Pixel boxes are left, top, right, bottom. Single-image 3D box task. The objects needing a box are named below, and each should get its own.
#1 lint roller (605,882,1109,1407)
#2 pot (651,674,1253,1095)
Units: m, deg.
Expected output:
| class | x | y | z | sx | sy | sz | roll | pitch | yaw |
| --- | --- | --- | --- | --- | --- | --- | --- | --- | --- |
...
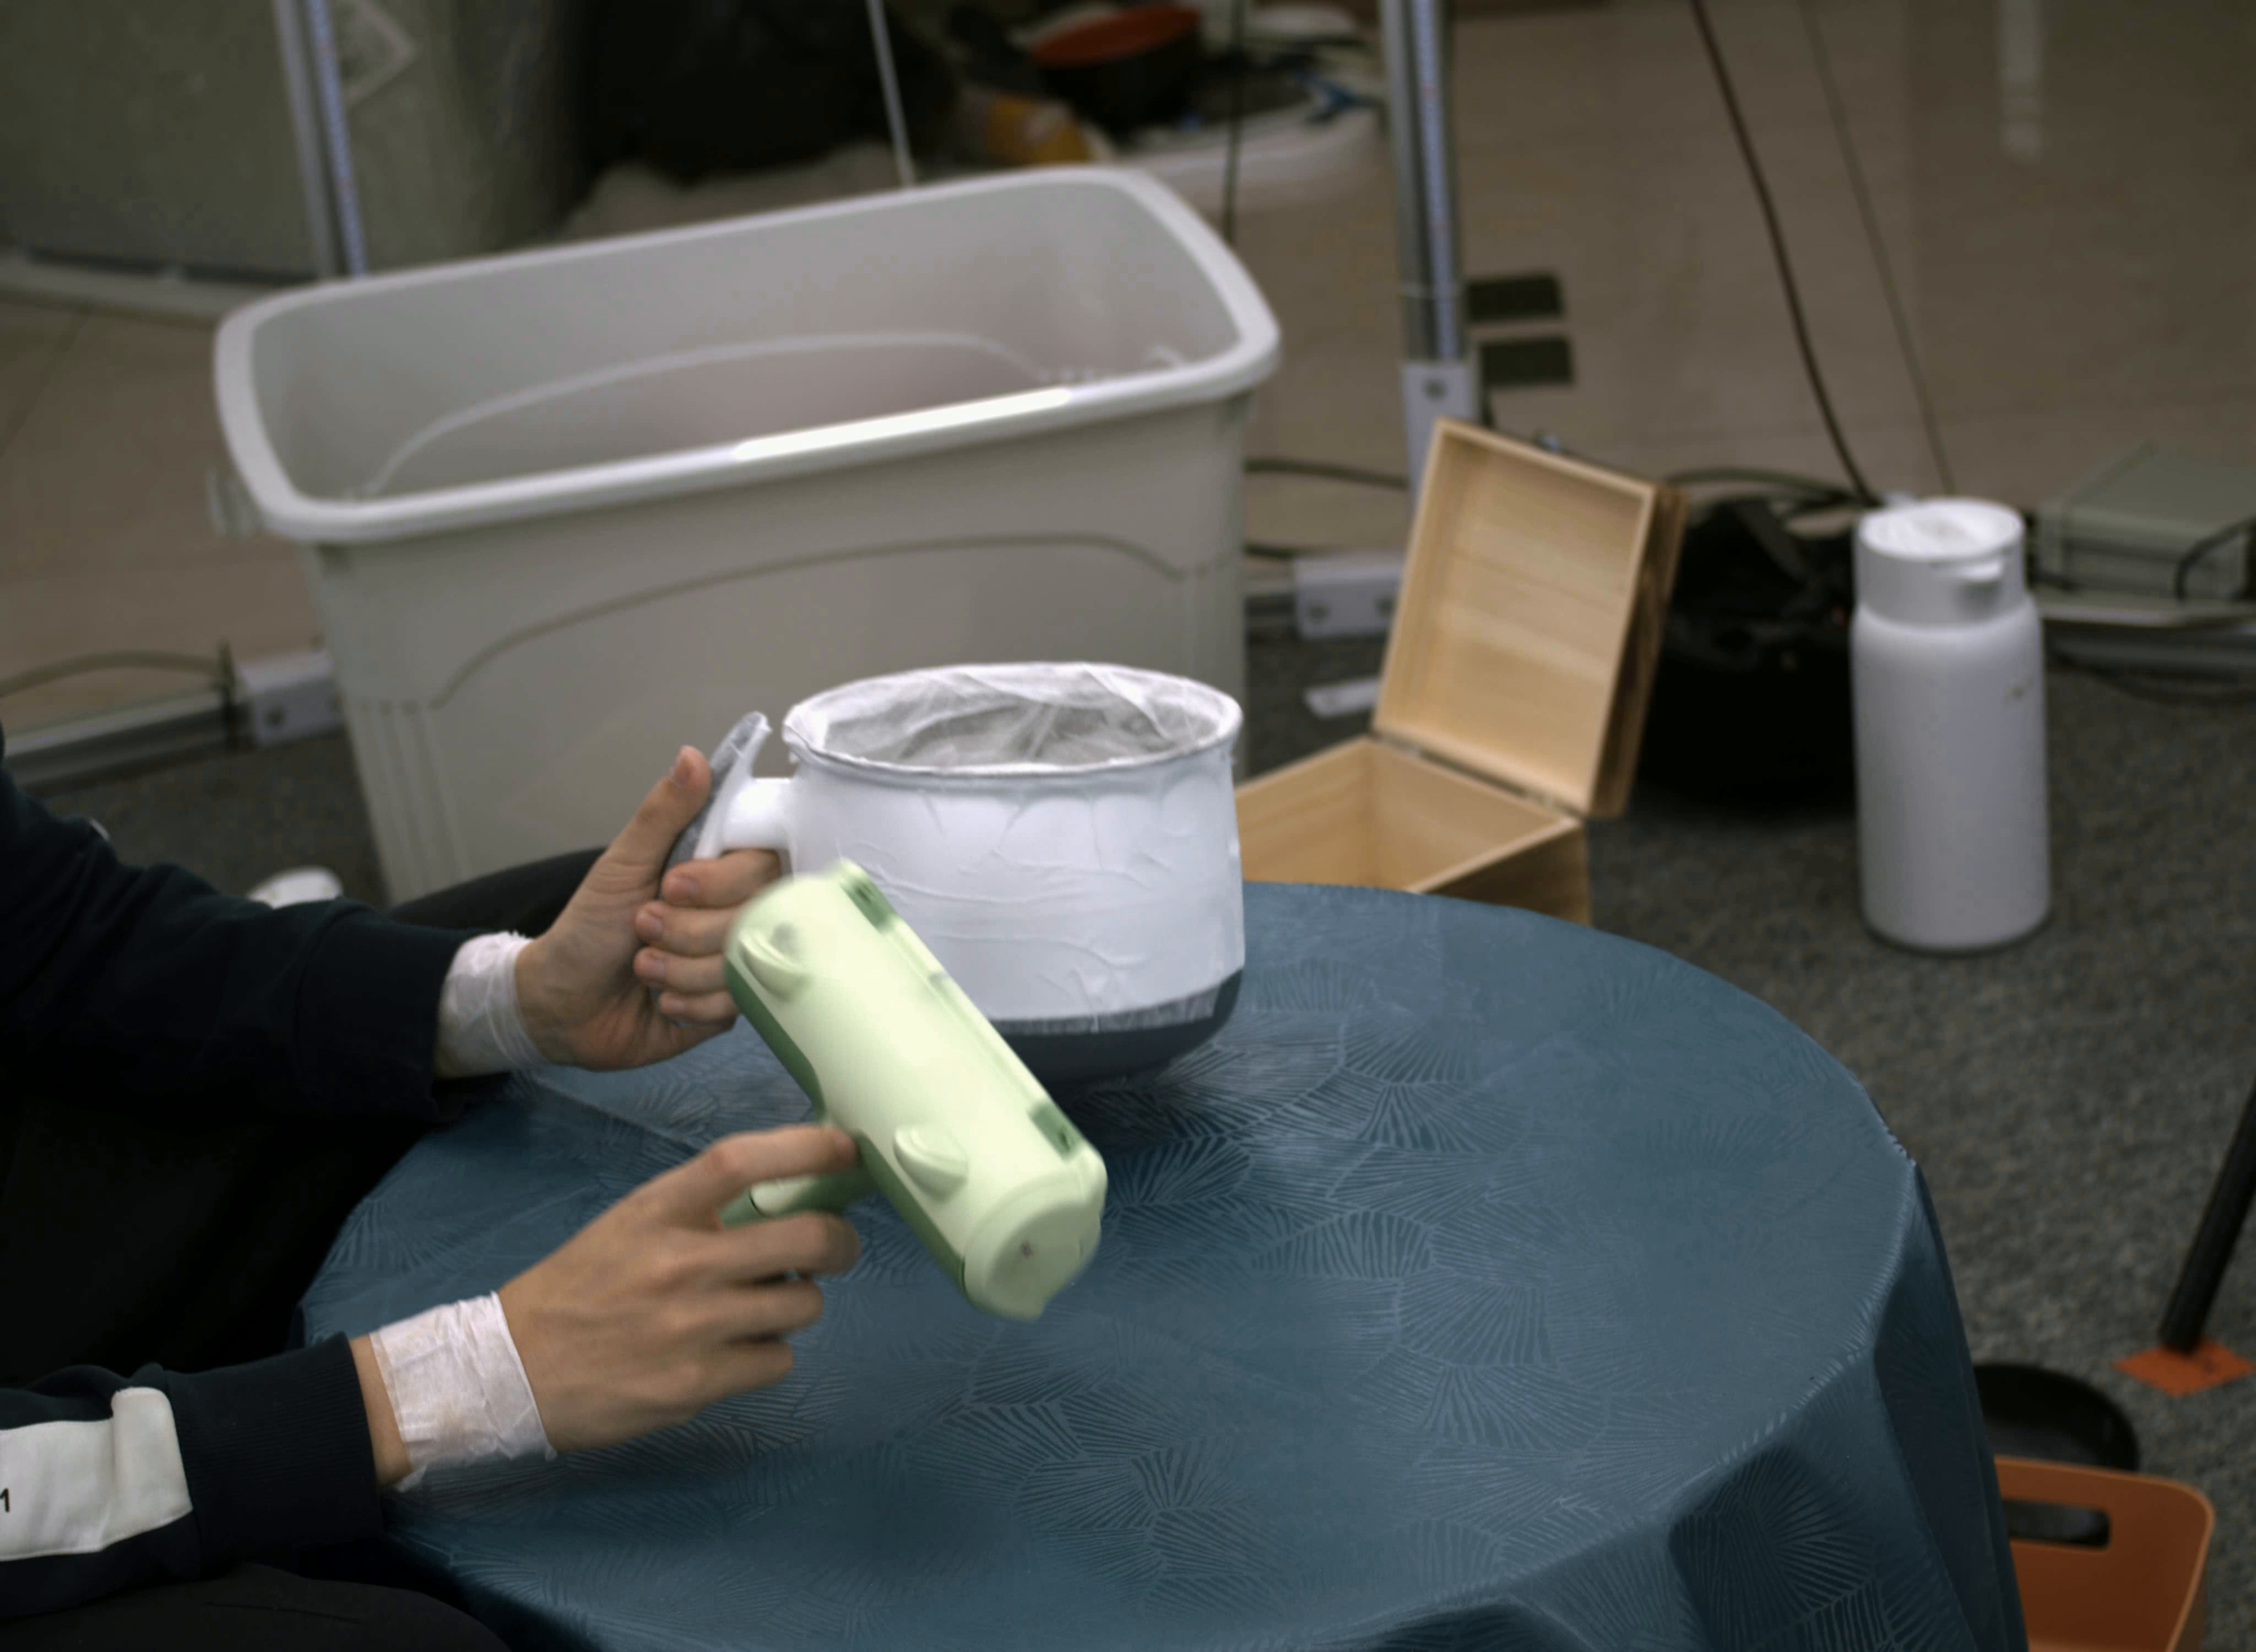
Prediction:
| class | x | y | z | sx | sy | sz | roll | pitch | yaw |
| --- | --- | --- | --- | --- | --- | --- | --- | --- | --- |
| lint roller | -0.121 | 0.128 | 1.970 | 0.183 | 0.083 | 0.195 | -37 | 48 | -2 |
| pot | -0.068 | 0.022 | 2.186 | 0.233 | 0.138 | 0.177 | -1 | 15 | -3 |
